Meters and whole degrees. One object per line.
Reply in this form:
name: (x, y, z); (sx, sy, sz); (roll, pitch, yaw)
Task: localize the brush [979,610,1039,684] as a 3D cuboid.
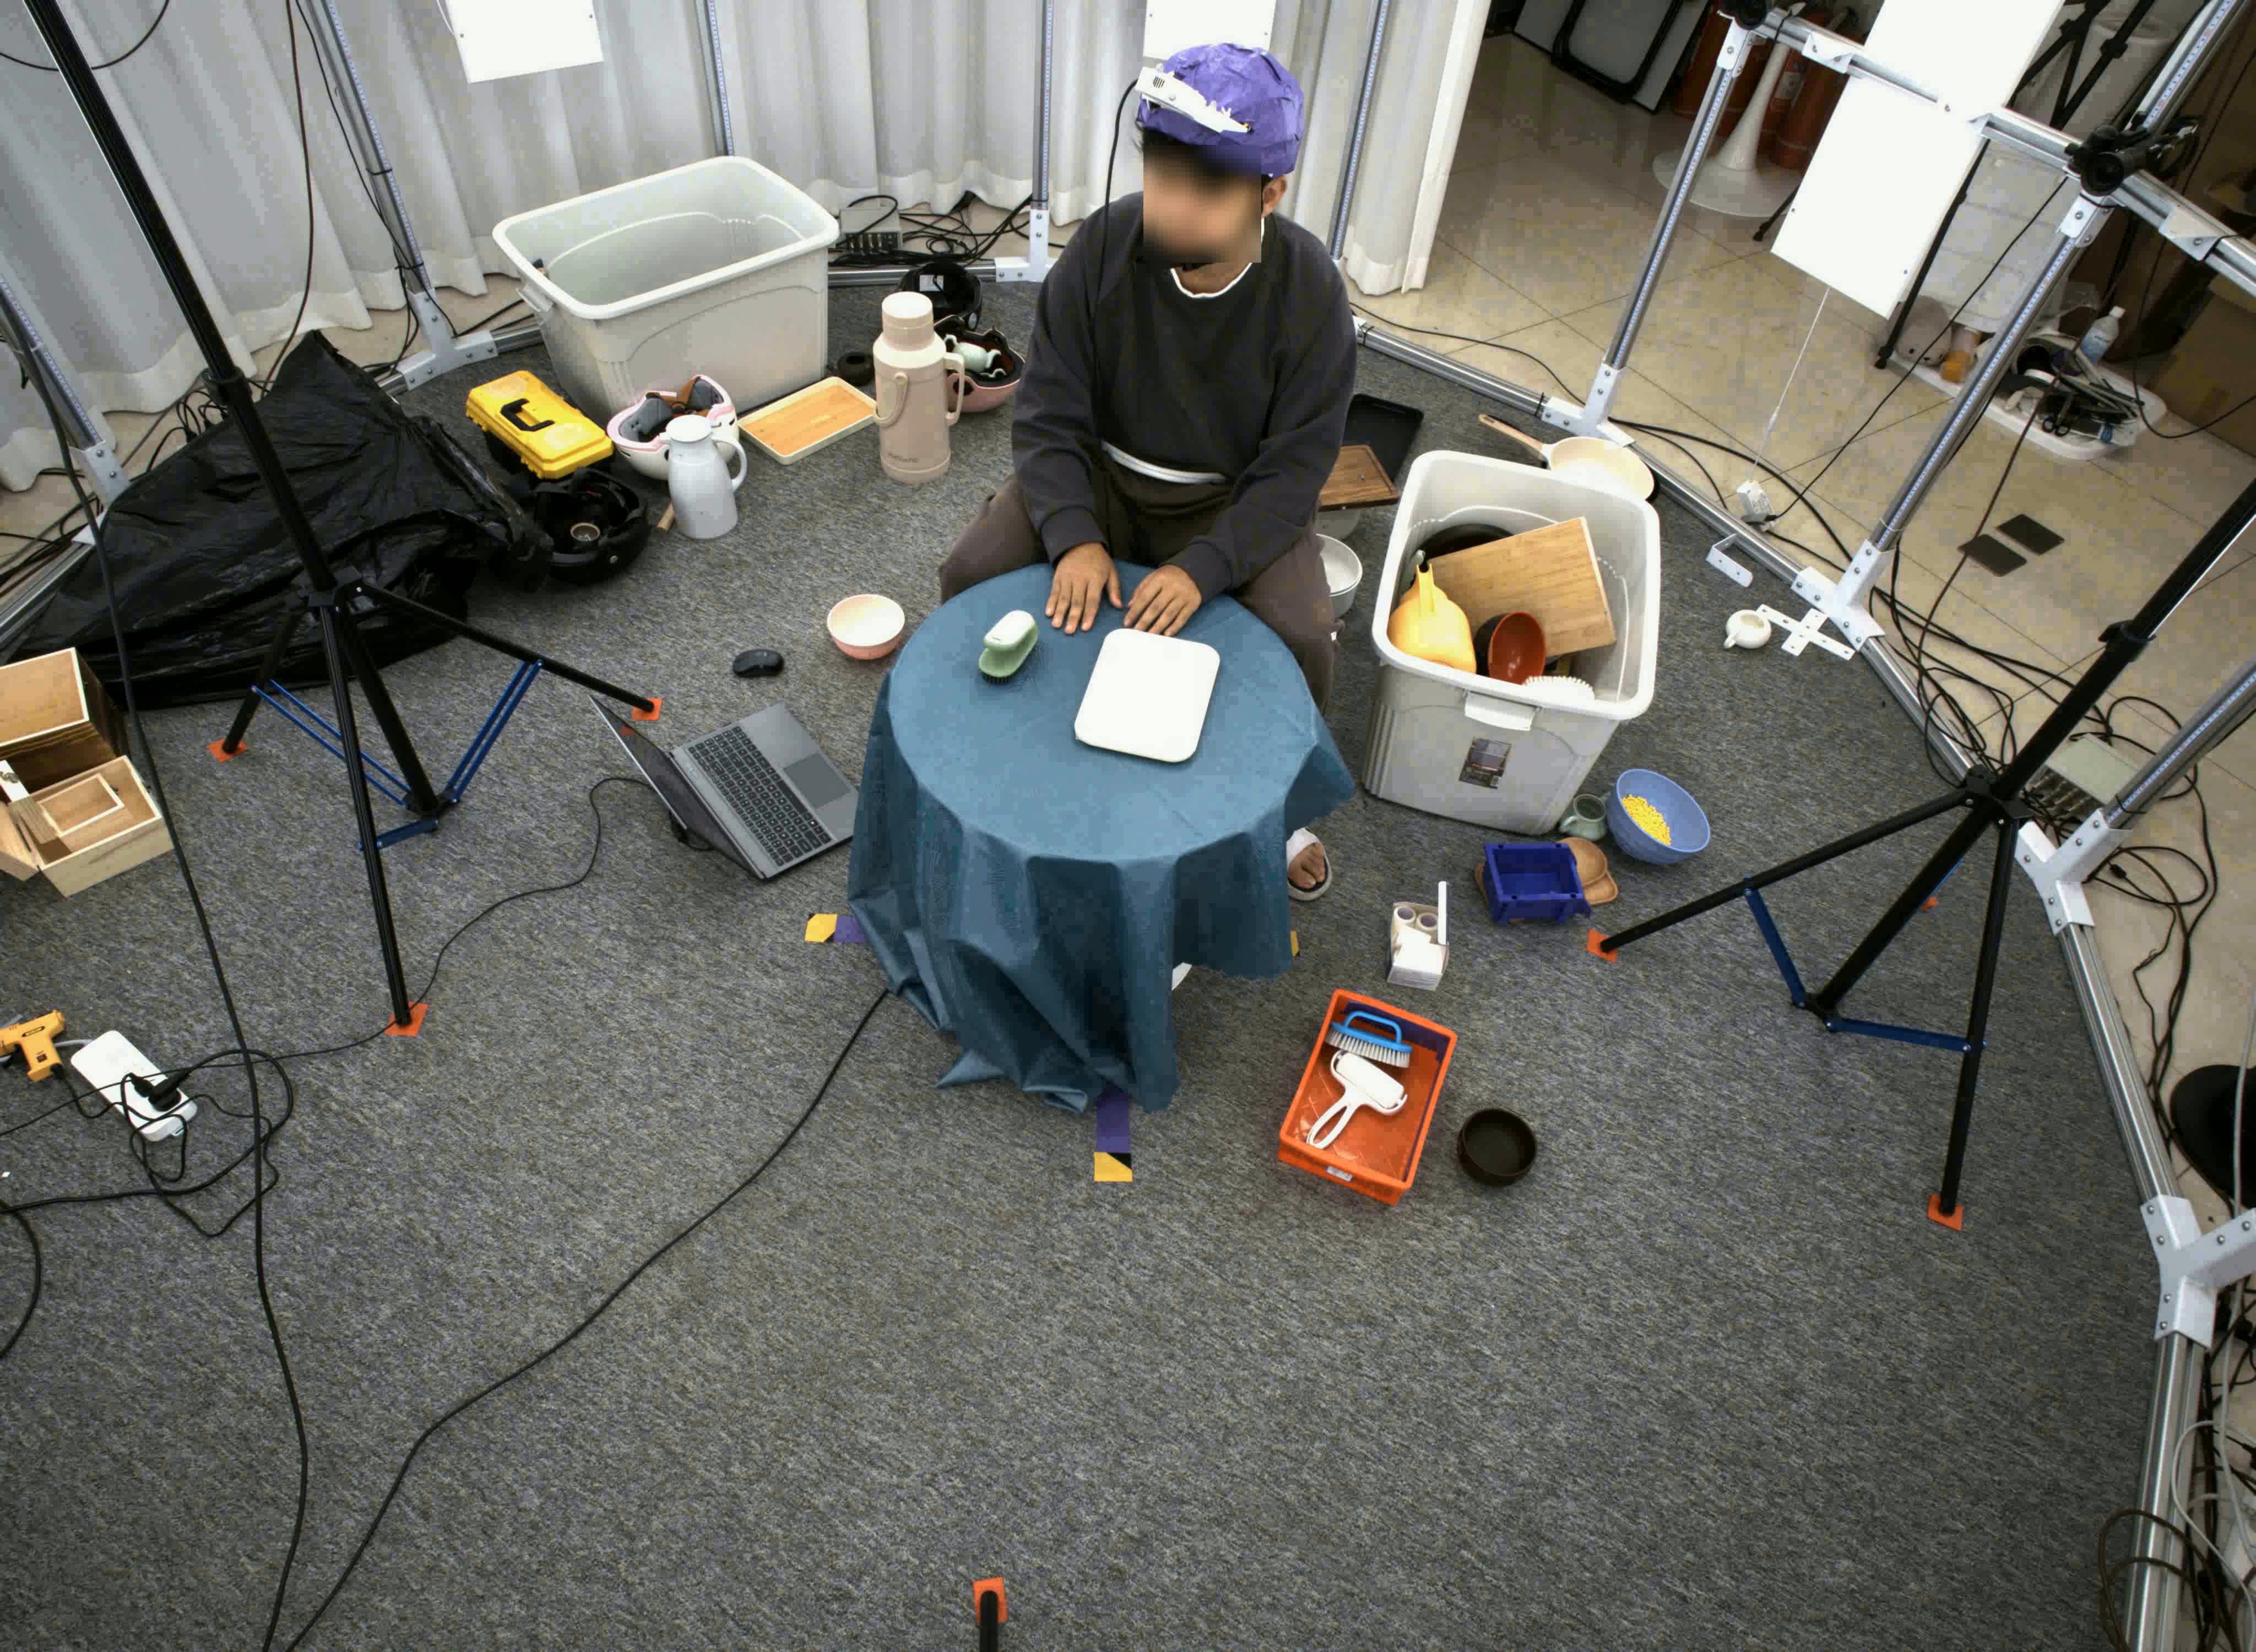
brush: (-0.170, -0.258, 1.841); (0.060, 0.074, 0.125); (20, 37, 11)

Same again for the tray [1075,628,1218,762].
tray: (0.029, -0.187, 1.818); (0.171, 0.017, 0.245); (12, 49, 6)
